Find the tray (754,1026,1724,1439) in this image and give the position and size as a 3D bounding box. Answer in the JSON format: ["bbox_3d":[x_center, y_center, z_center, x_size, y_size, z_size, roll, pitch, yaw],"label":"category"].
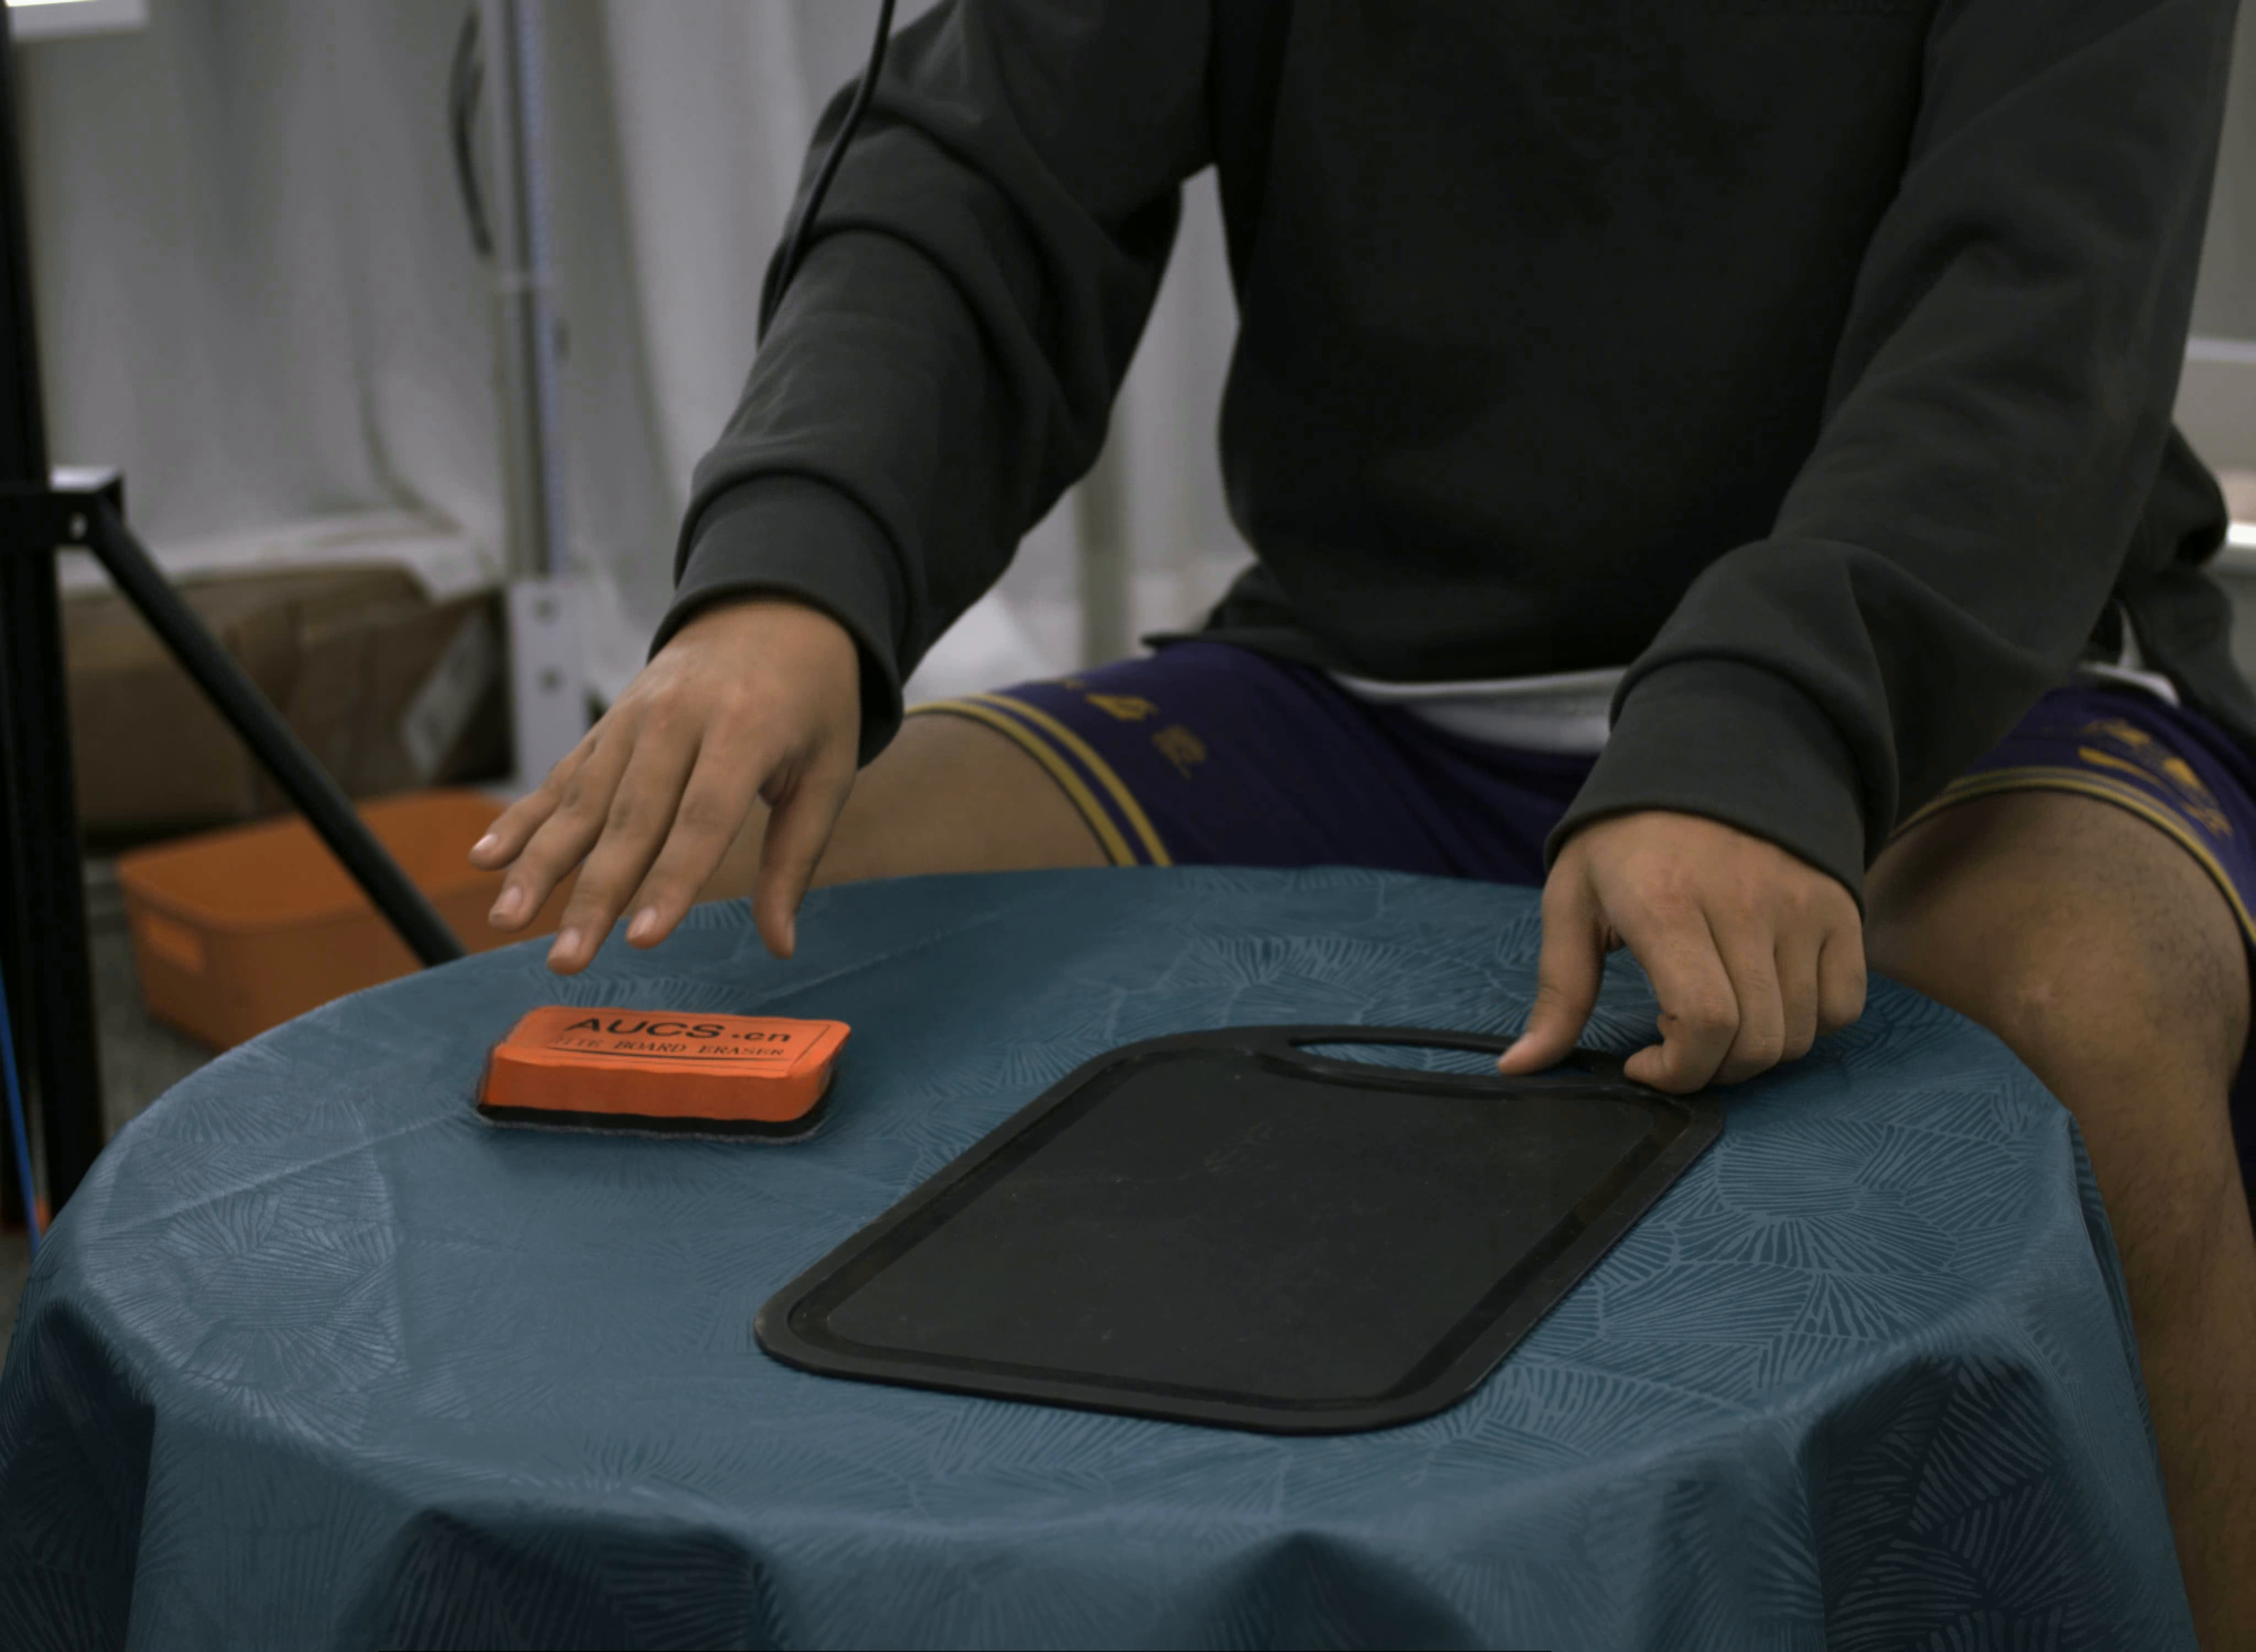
[{"bbox_3d":[0.041,0.108,1.541,0.214,0.010,0.320,5,18,24],"label":"tray"}]

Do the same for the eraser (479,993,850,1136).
[{"bbox_3d":[-0.143,0.074,1.652,0.109,0.023,0.058,4,18,17],"label":"eraser"}]
